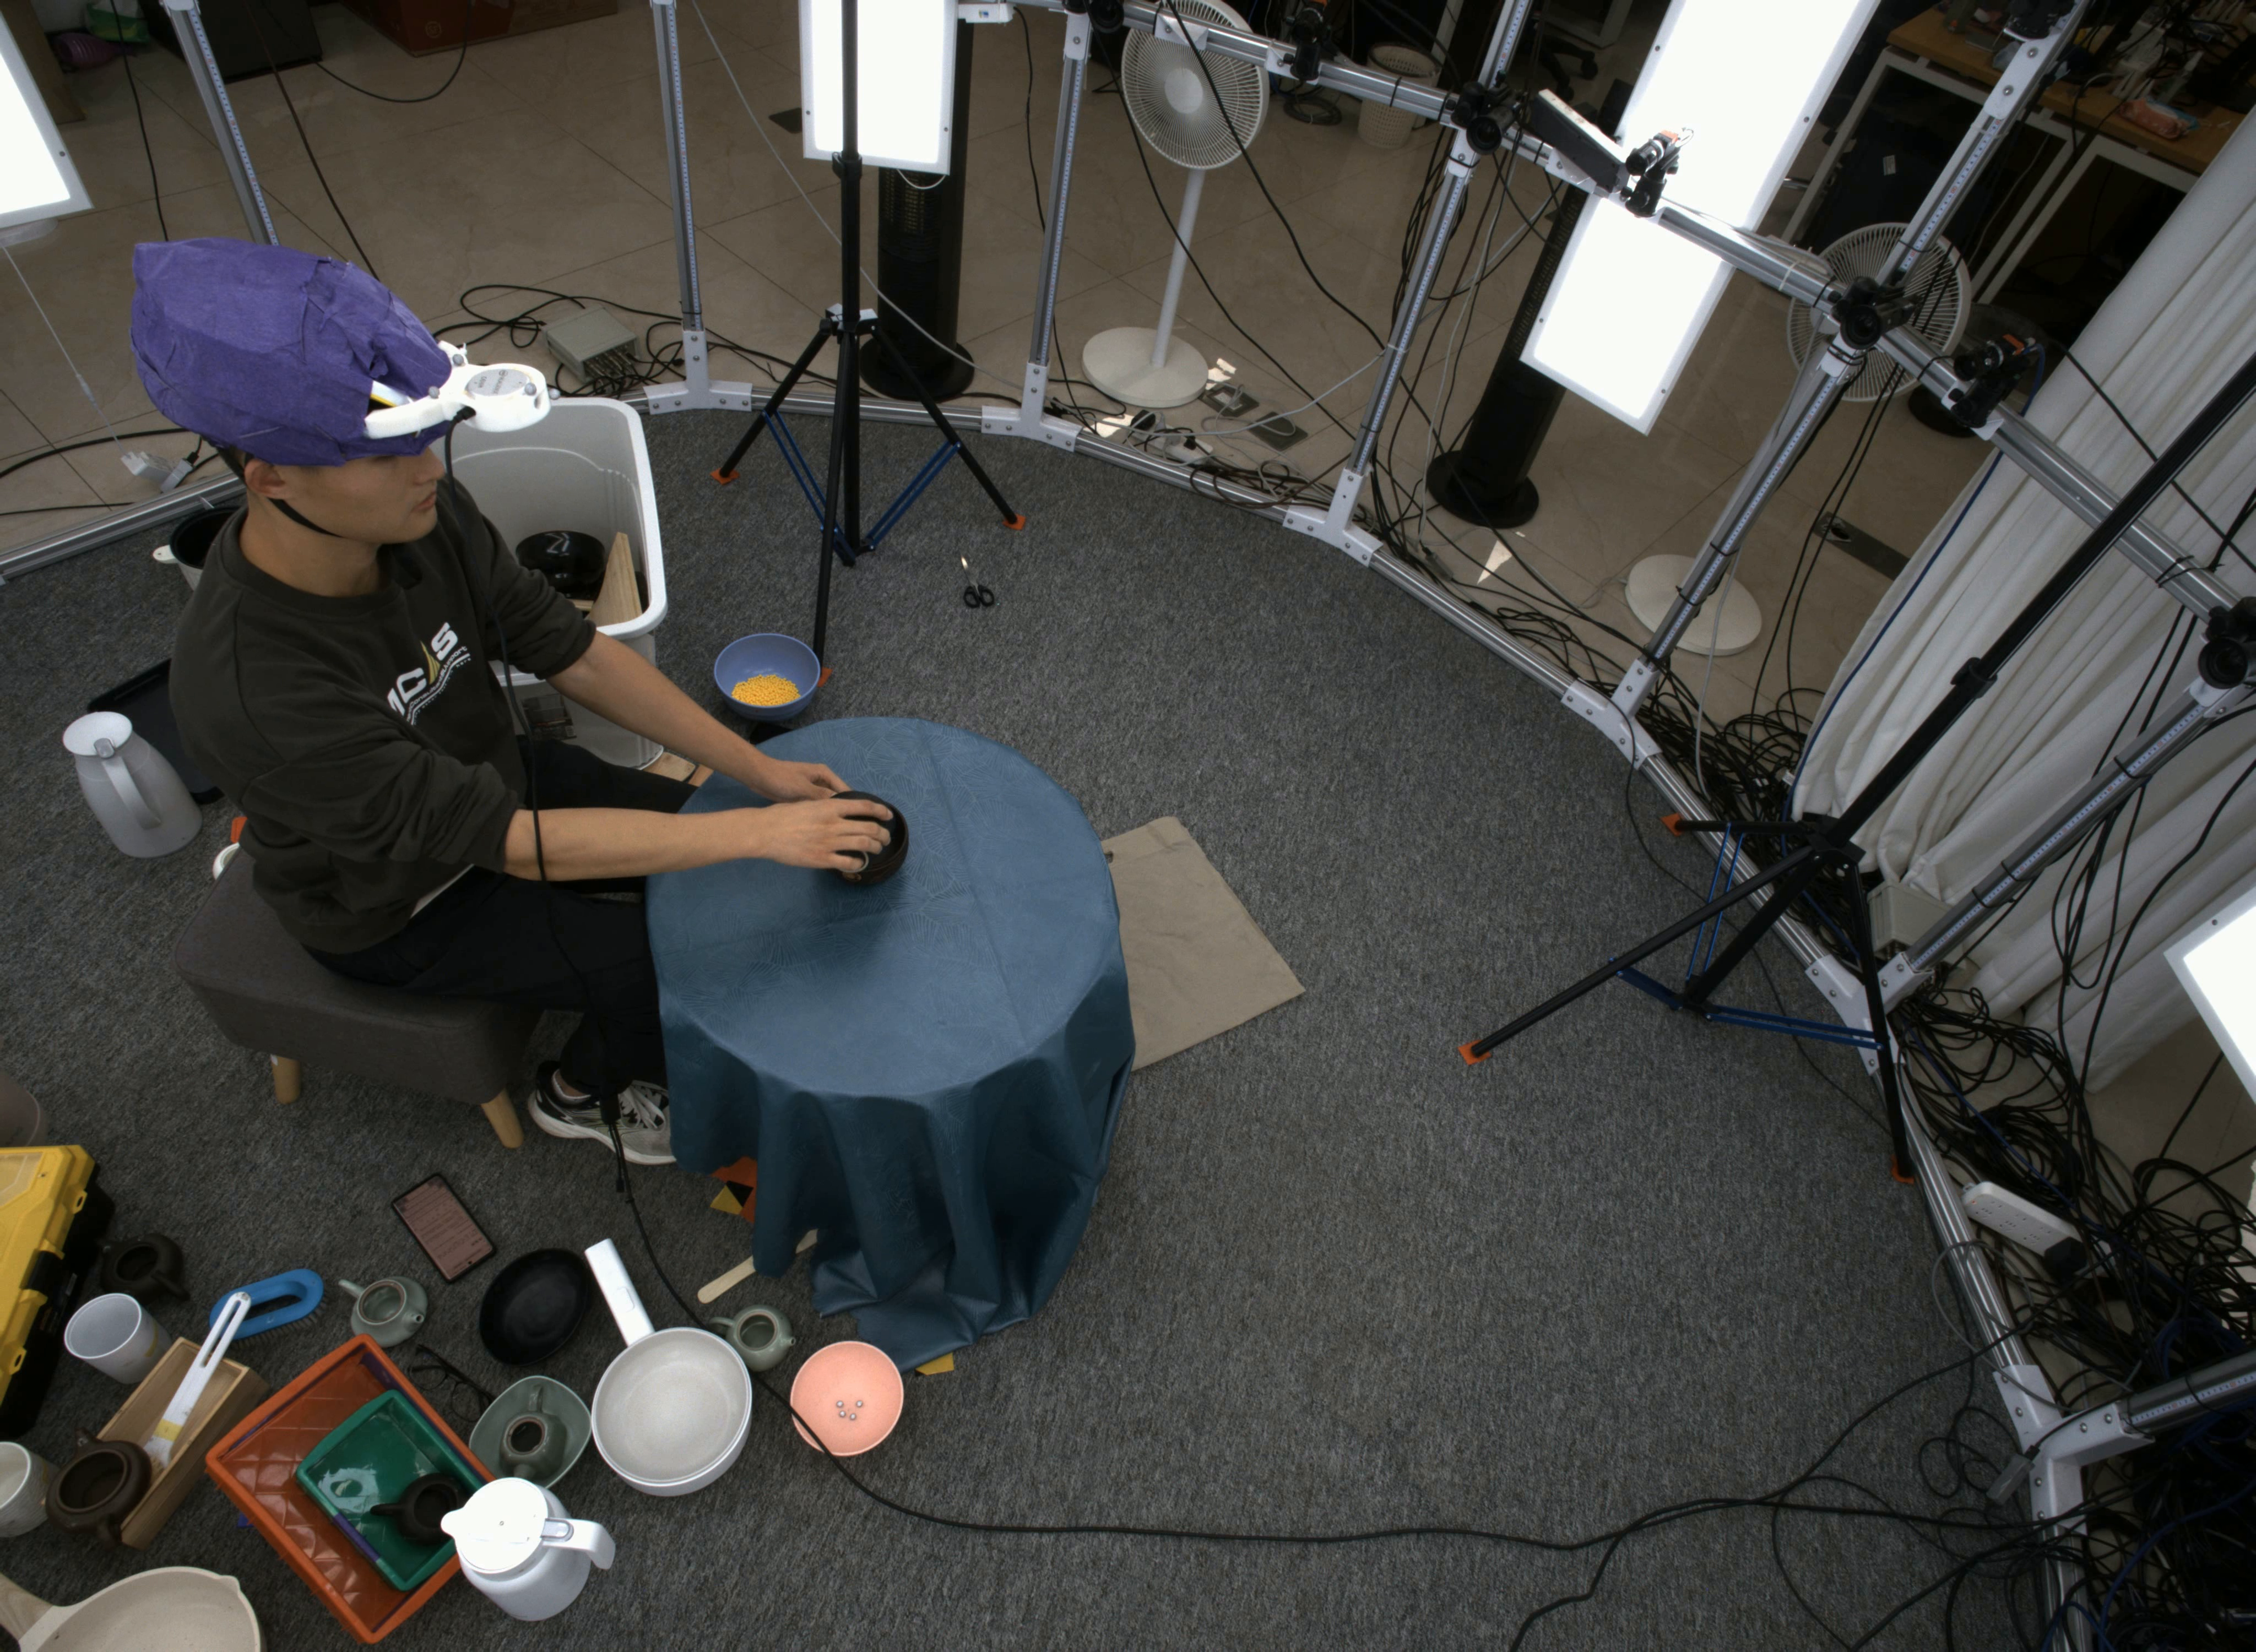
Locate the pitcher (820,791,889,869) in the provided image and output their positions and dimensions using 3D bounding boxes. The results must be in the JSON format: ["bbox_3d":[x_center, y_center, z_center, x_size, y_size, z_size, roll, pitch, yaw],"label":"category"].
[{"bbox_3d":[-0.339,0.013,1.601,0.083,0.099,0.070,0,41,-1],"label":"pitcher"}]

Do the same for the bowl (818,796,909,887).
[{"bbox_3d":[-0.344,0.027,1.689,0.118,0.071,0.116,8,53,-9],"label":"bowl"}]
